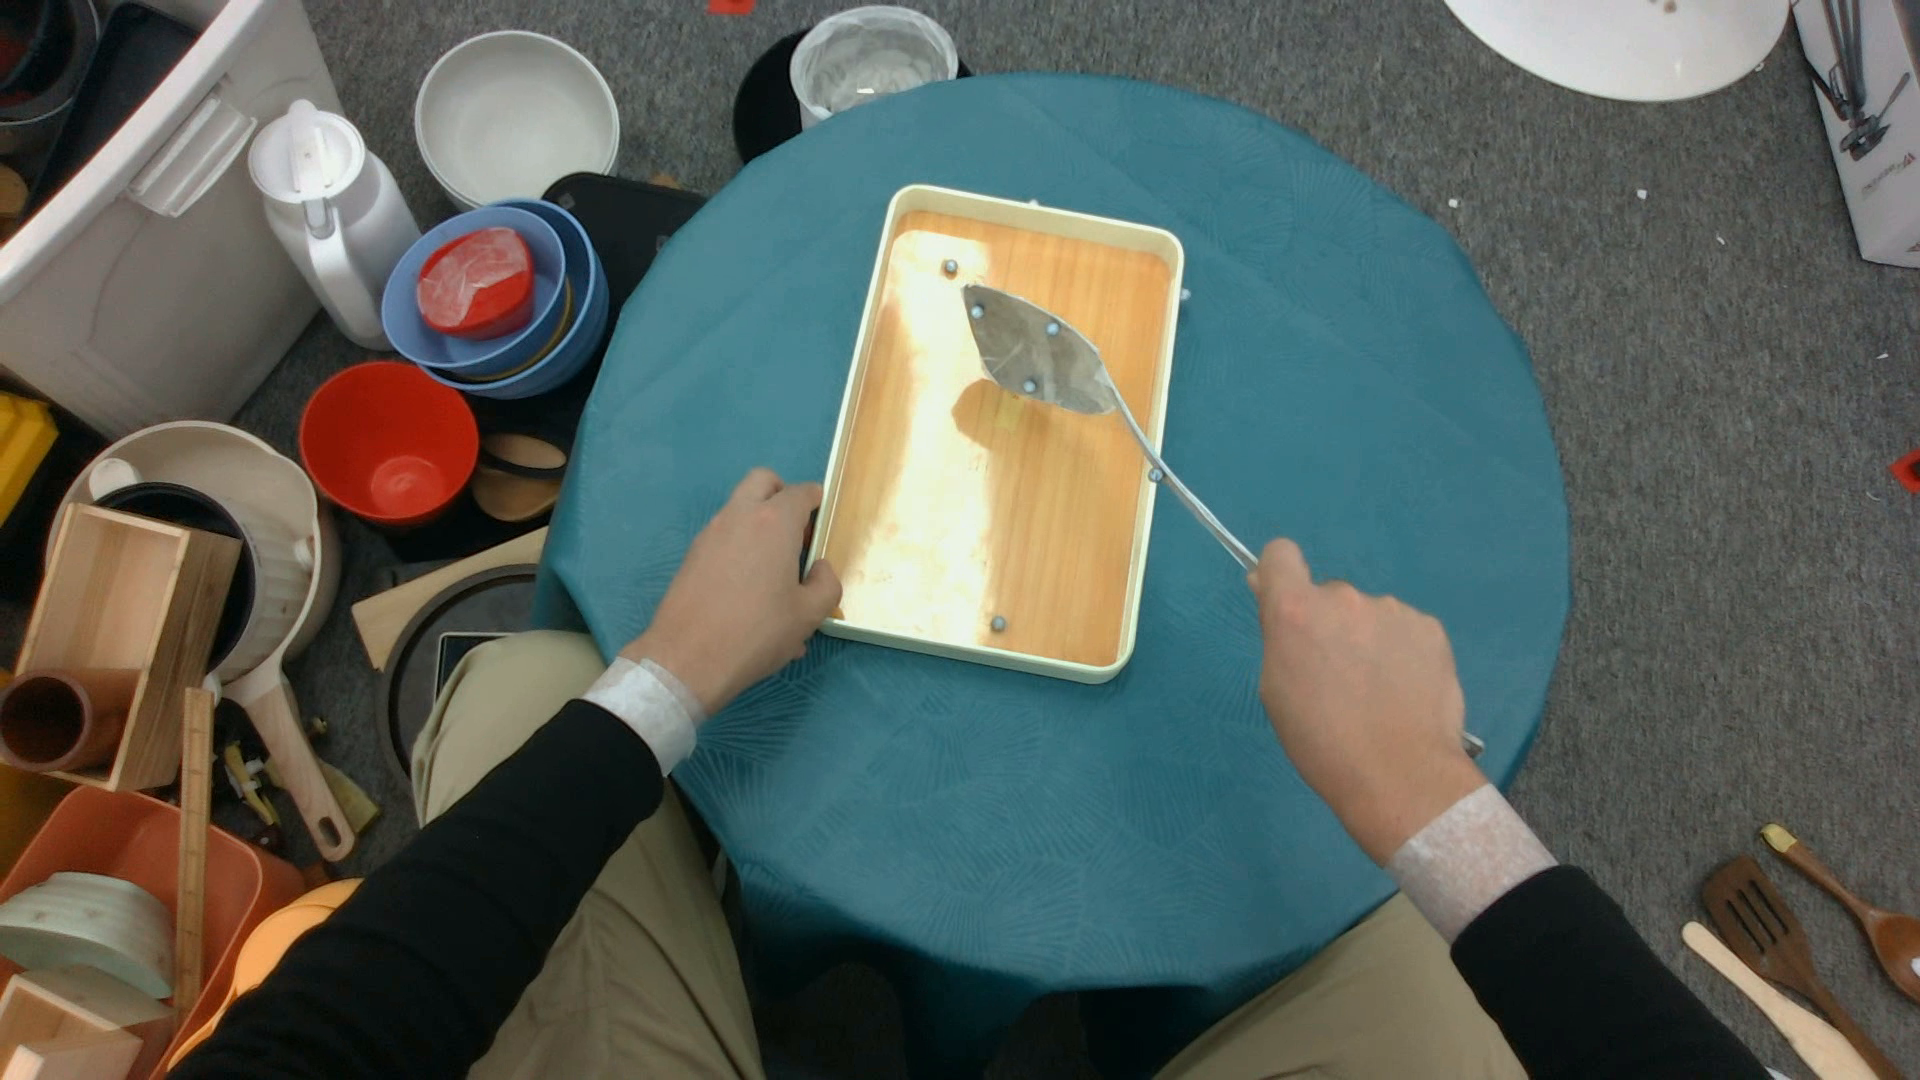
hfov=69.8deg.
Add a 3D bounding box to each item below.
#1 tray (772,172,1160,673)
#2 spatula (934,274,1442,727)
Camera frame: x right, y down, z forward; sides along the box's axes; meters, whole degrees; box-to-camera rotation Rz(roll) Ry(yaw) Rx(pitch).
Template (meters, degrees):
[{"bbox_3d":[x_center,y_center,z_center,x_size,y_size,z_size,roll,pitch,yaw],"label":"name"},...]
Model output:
[{"bbox_3d":[0.010,-0.078,0.827,0.191,0.027,0.301,11,67,-1],"label":"tray"},{"bbox_3d":[0.105,-0.025,0.725,0.045,0.098,0.365,-34,58,-10],"label":"spatula"}]
